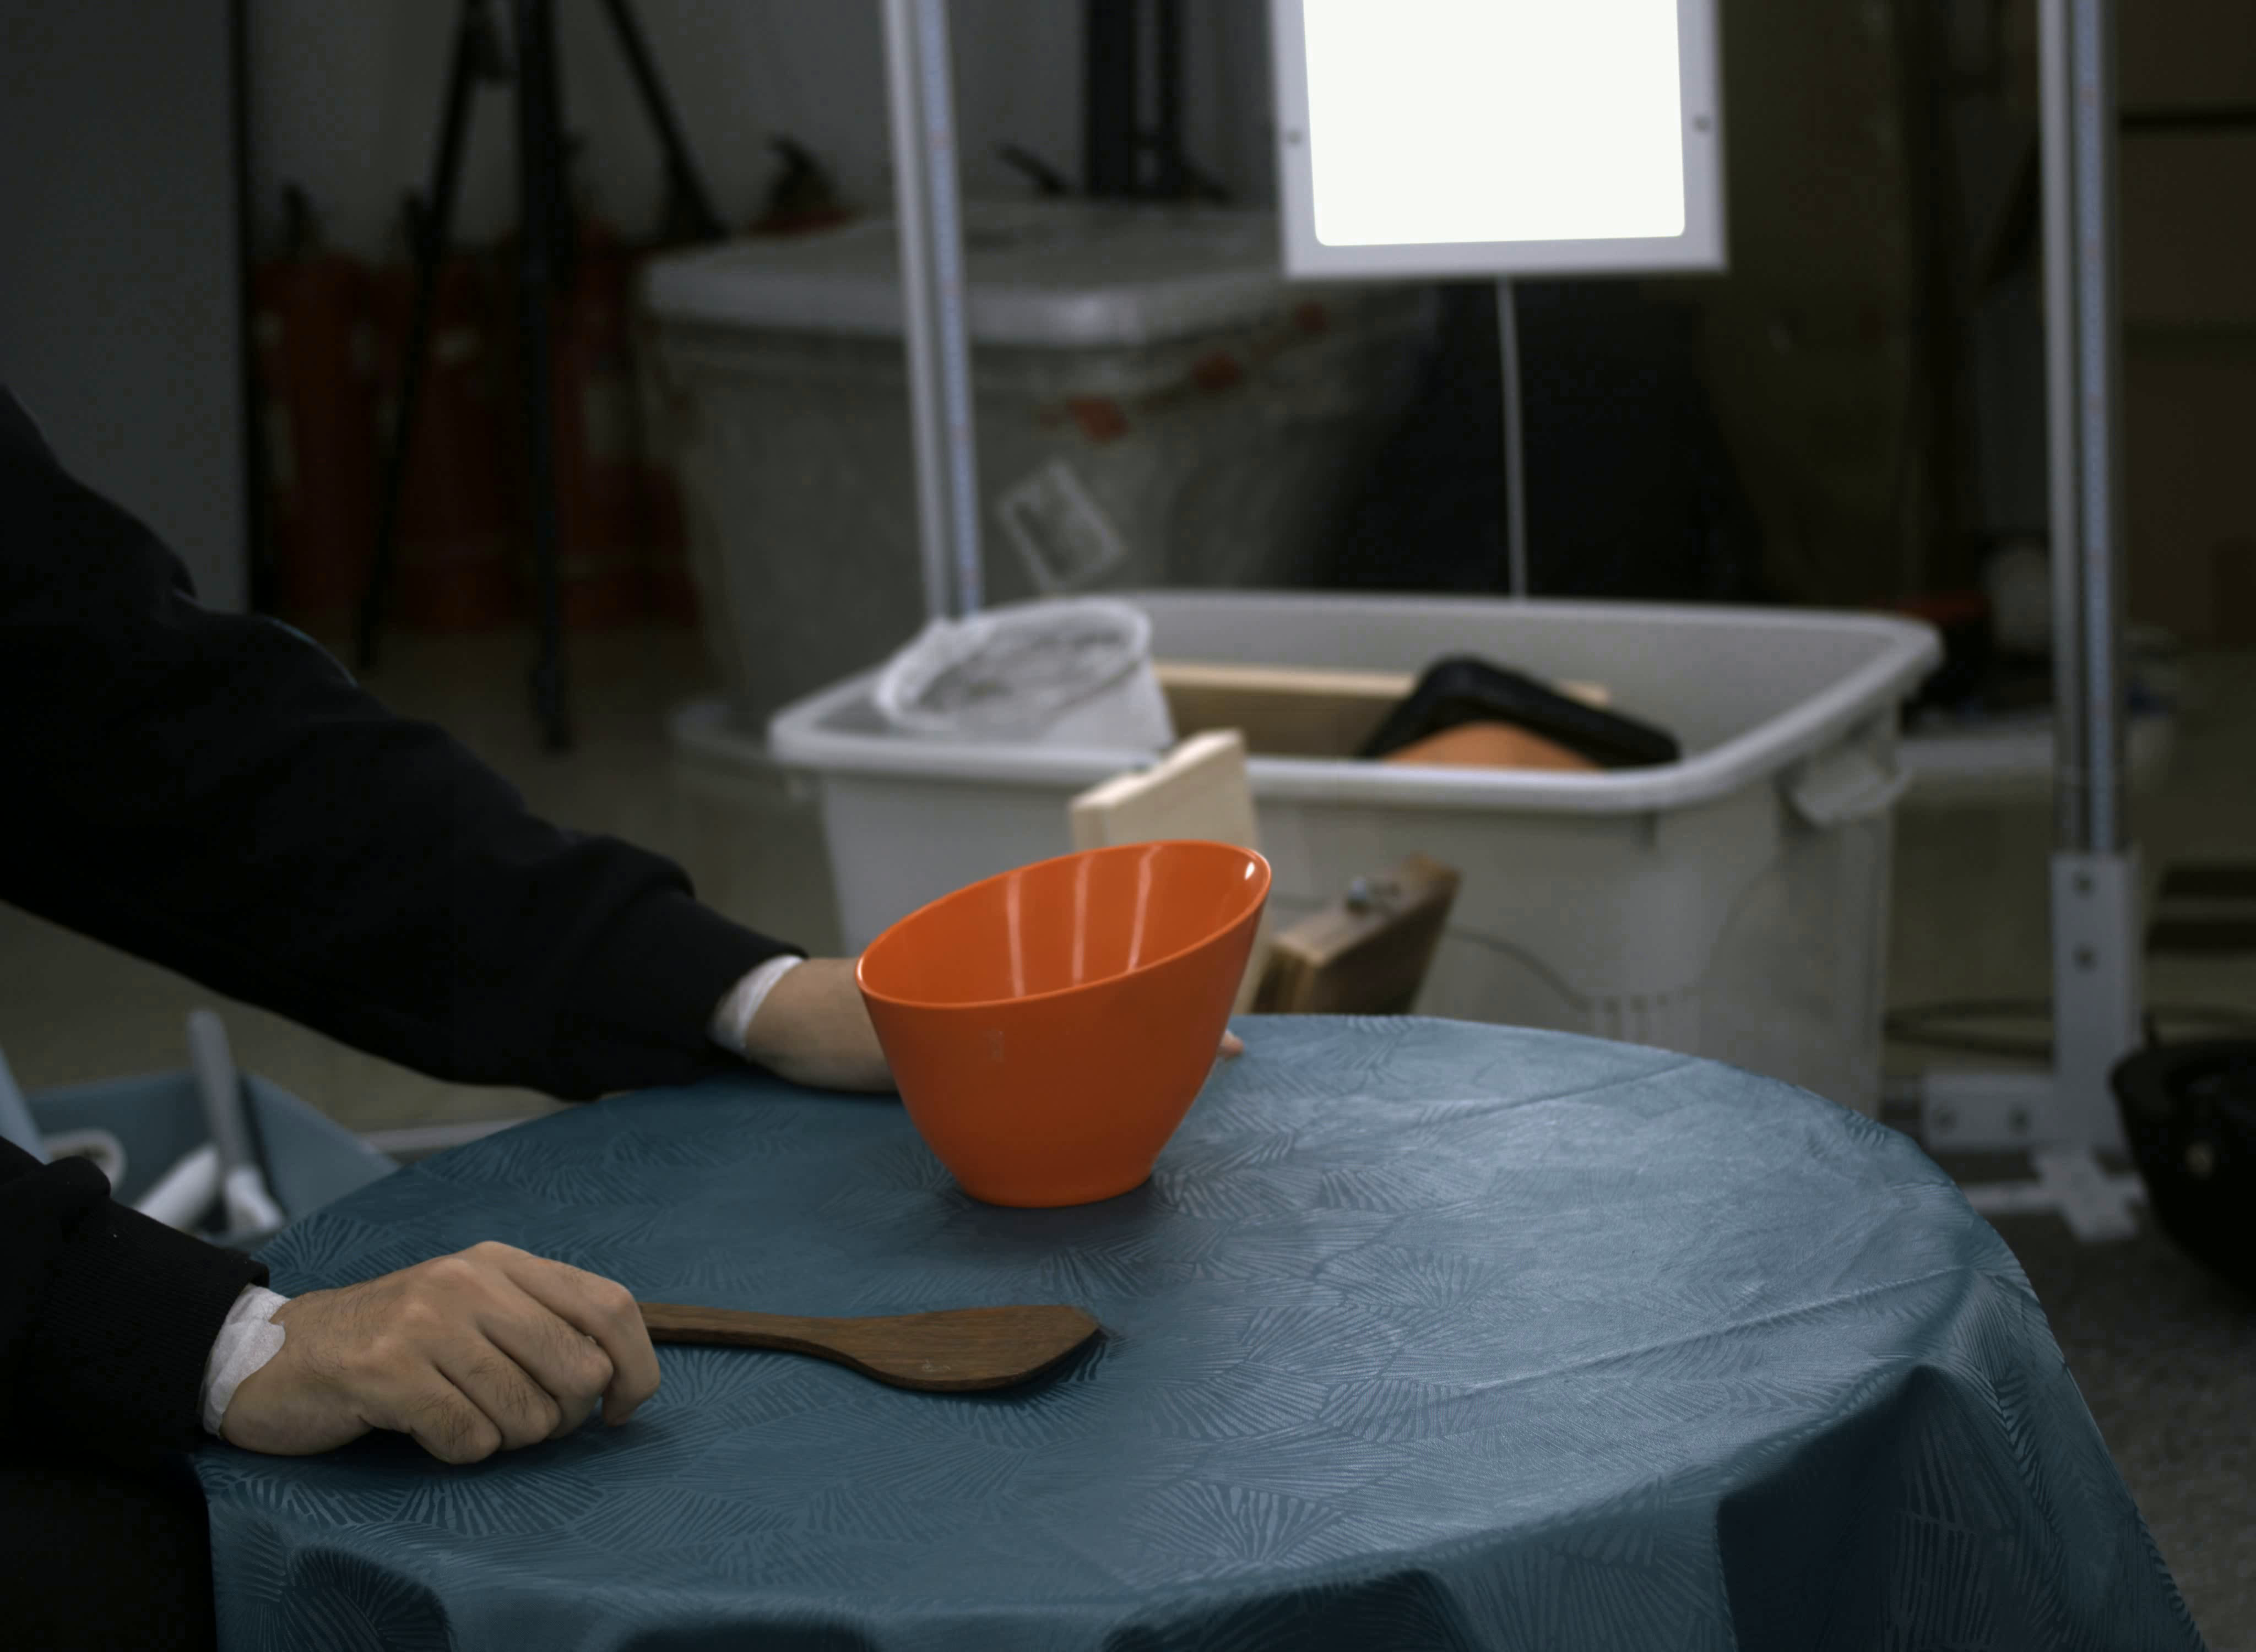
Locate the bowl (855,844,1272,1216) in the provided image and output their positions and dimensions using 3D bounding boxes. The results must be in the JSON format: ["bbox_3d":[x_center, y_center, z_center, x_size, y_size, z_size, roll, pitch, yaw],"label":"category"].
[{"bbox_3d":[-0.018,0.074,1.910,0.148,0.105,0.148,-6,15,0],"label":"bowl"}]

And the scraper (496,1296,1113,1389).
[{"bbox_3d":[-0.108,0.163,1.773,0.215,0.011,0.074,1,14,26],"label":"scraper"}]
